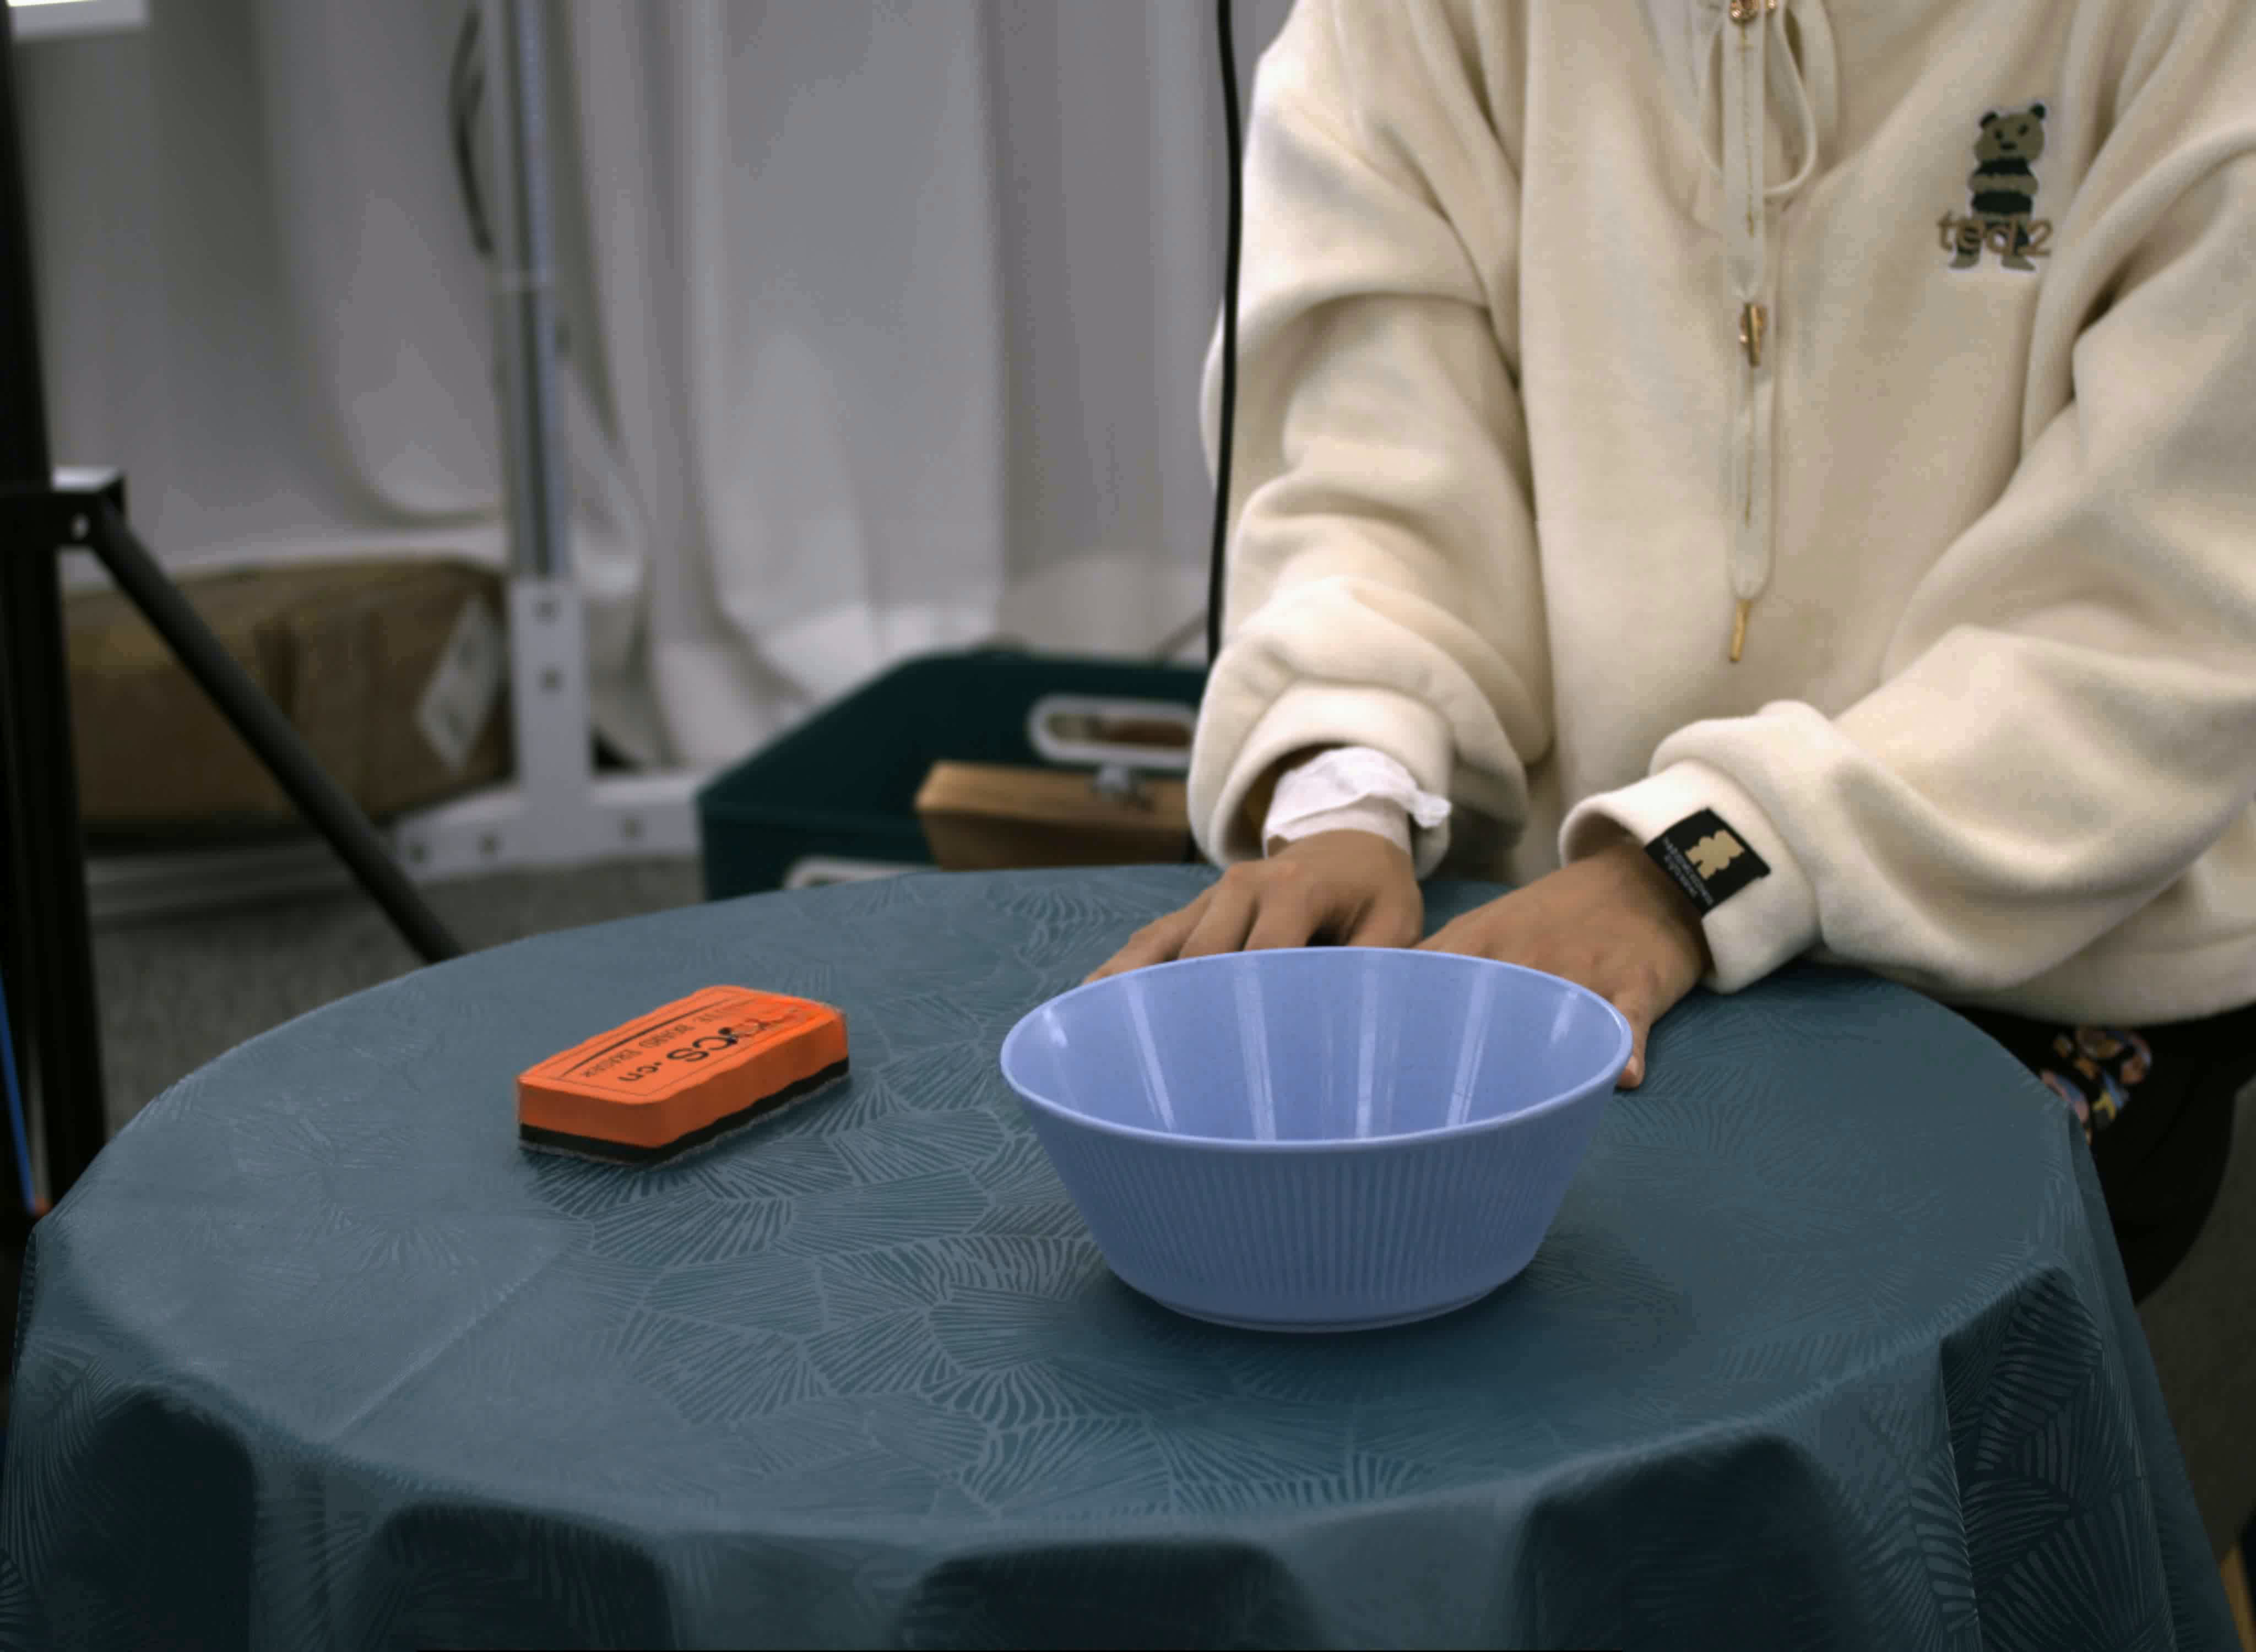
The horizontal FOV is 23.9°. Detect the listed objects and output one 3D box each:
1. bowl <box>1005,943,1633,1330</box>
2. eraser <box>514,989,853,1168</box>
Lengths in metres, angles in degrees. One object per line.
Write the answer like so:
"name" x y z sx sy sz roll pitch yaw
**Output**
"bowl" 0.054 0.090 1.482 0.175 0.070 0.177 -3 16 -1
"eraser" -0.137 0.077 1.647 0.060 0.023 0.106 6 18 35
